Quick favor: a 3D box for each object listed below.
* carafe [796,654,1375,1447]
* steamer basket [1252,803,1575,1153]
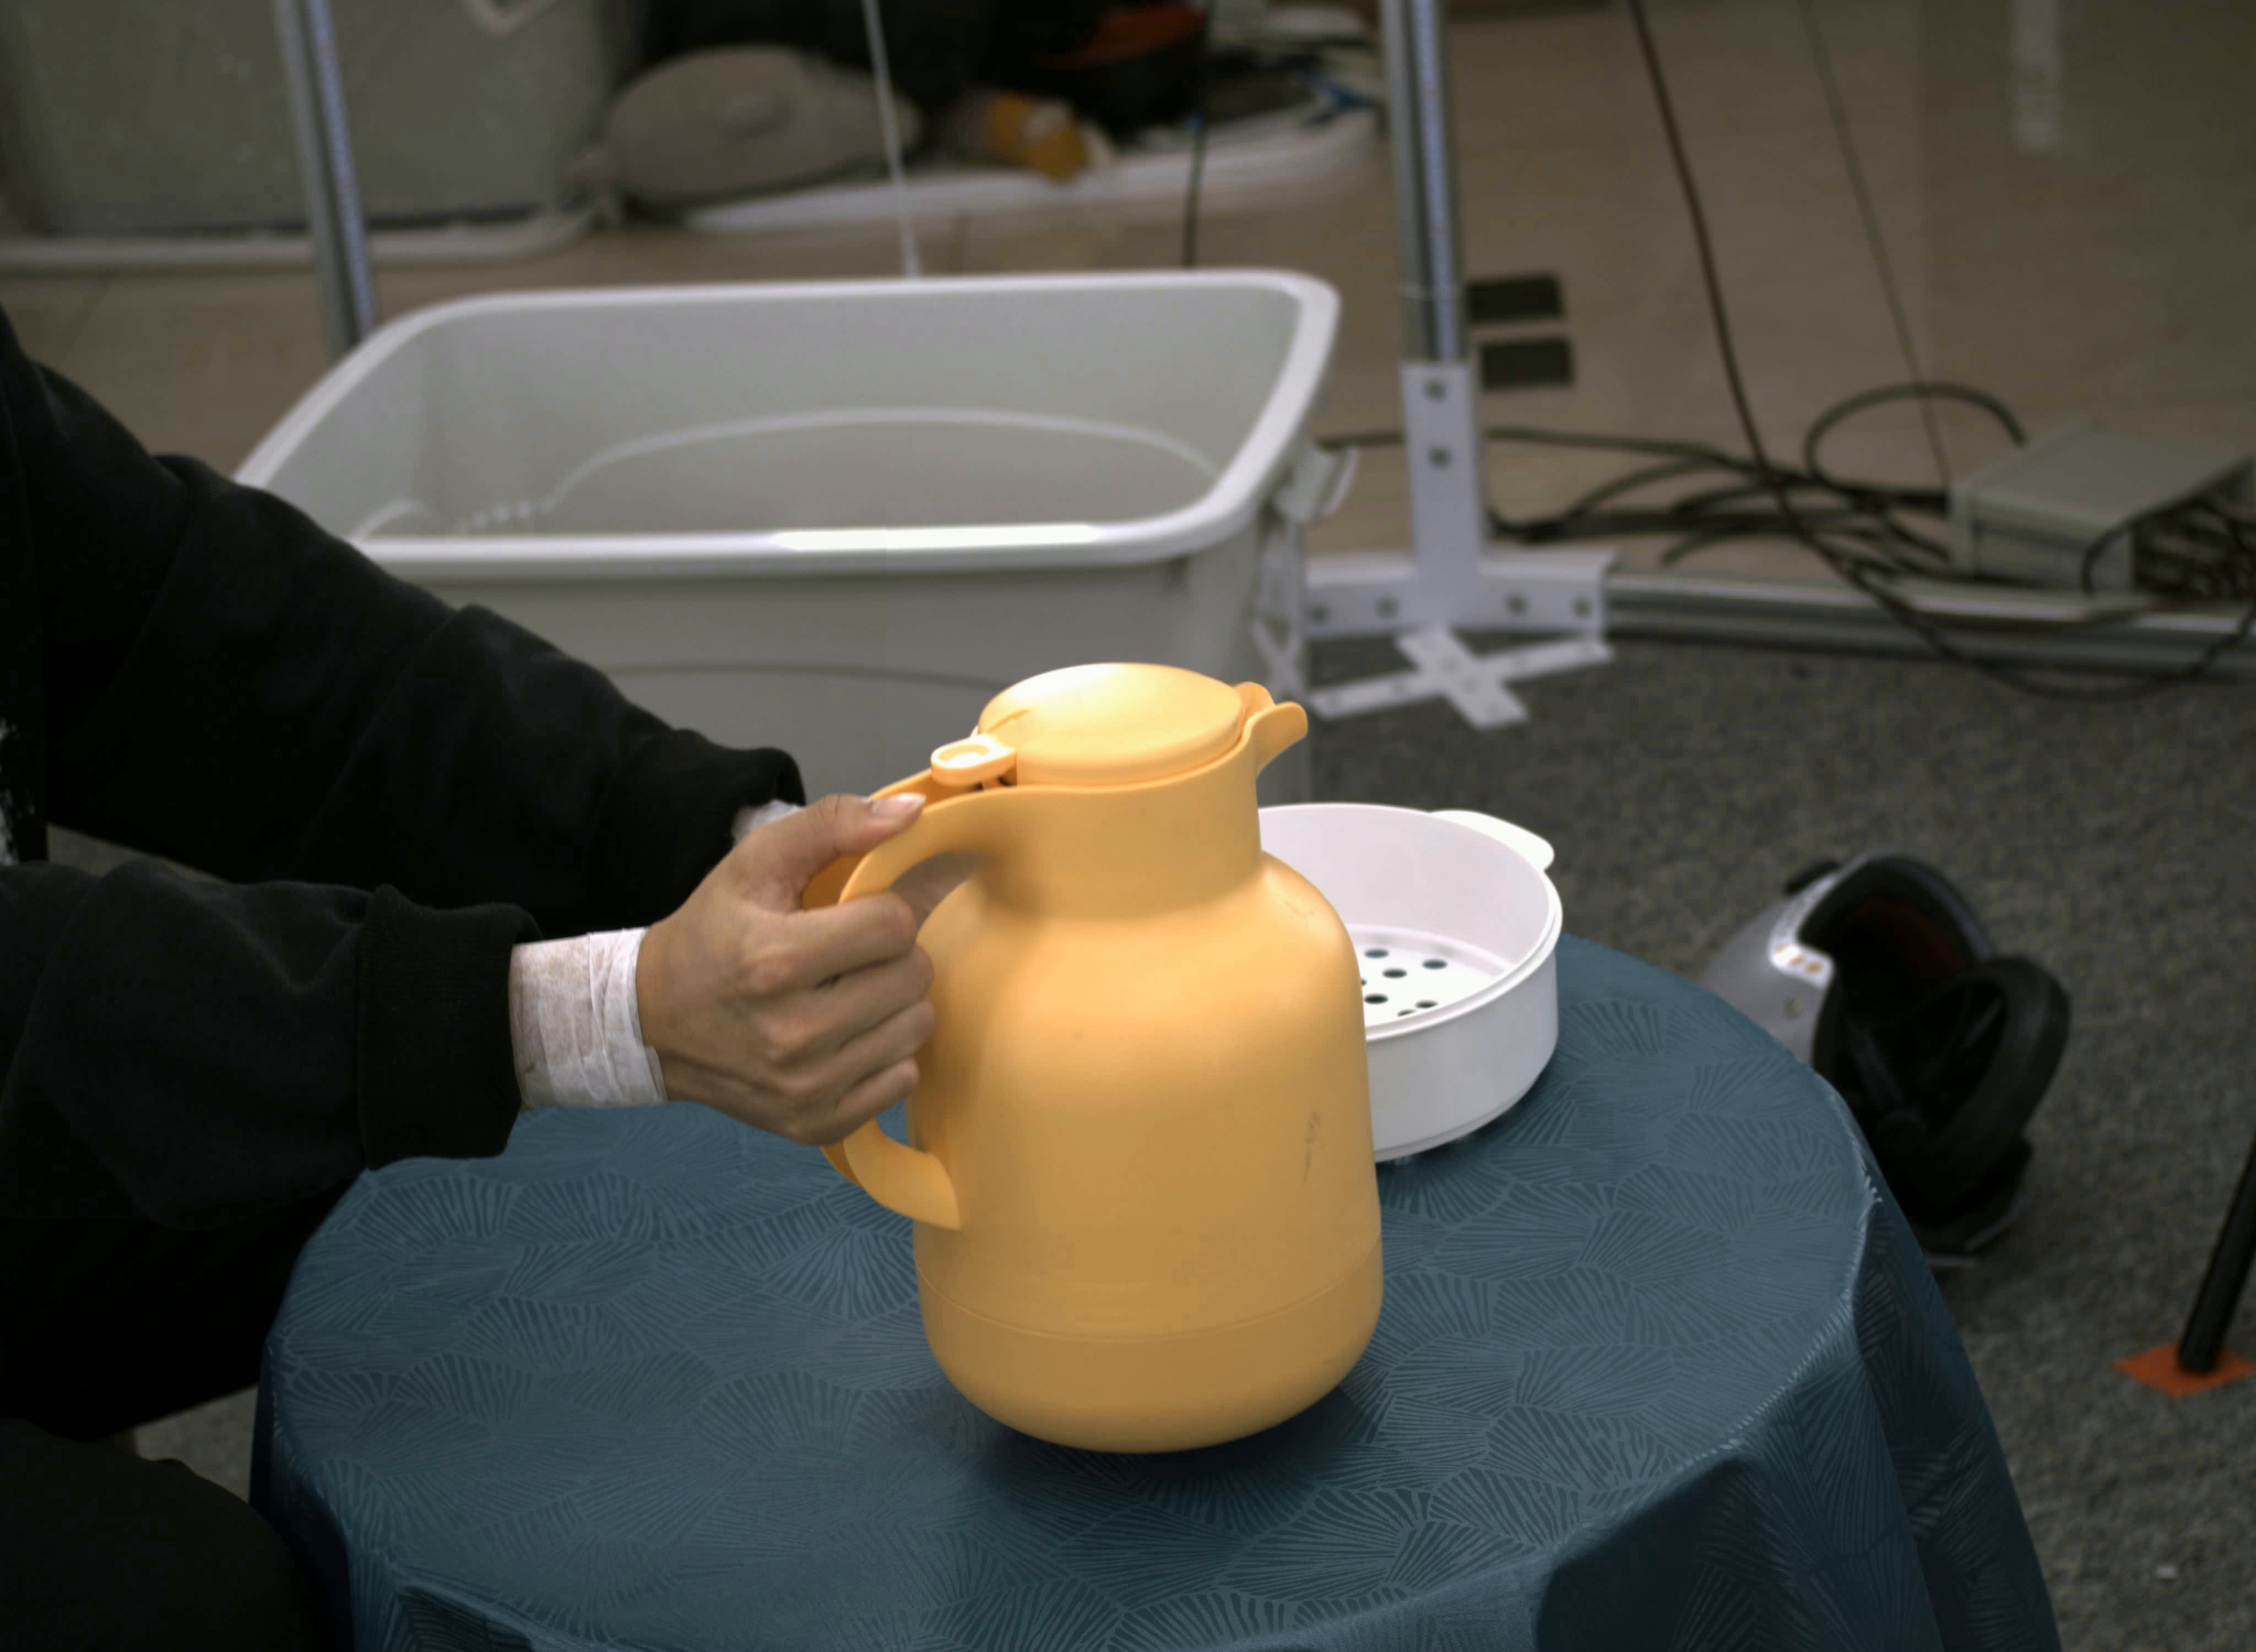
[{"bbox_3d":[-0.017,0.076,1.940,0.201,0.264,0.162,-14,23,-26],"label":"carafe"},{"bbox_3d":[0.074,0.060,2.209,0.229,0.070,0.200,-21,30,-35],"label":"steamer basket"}]
